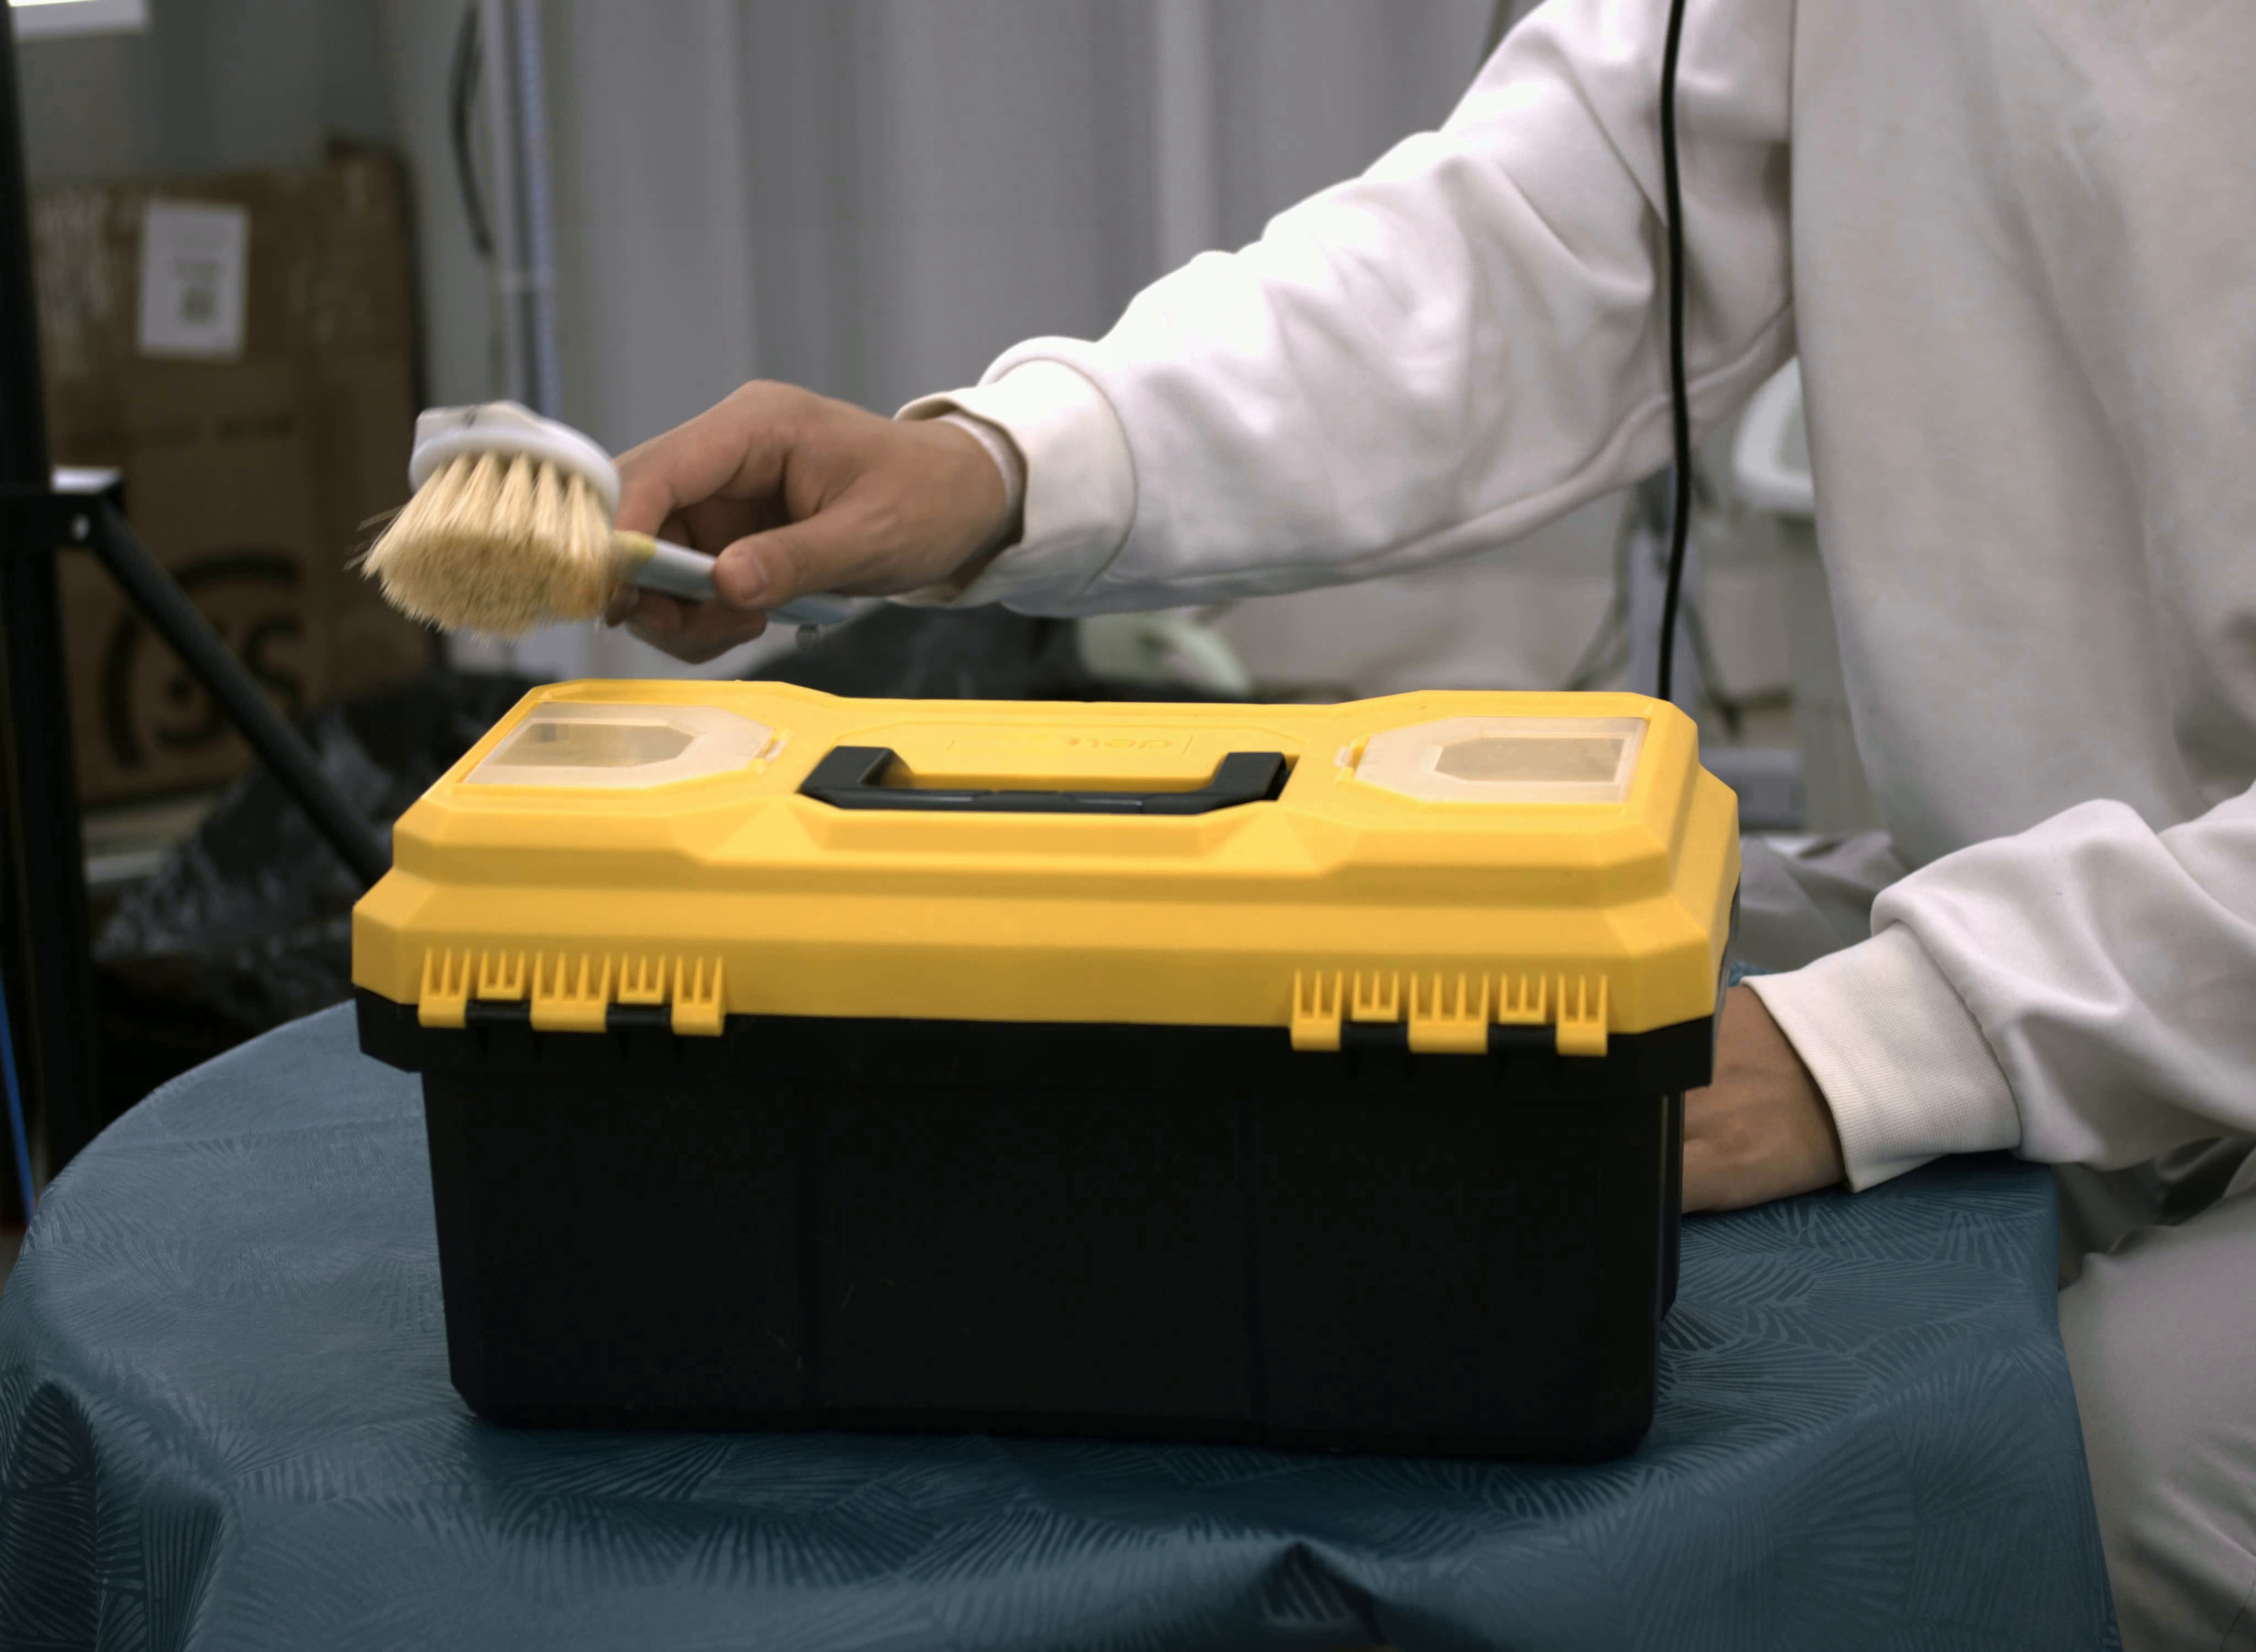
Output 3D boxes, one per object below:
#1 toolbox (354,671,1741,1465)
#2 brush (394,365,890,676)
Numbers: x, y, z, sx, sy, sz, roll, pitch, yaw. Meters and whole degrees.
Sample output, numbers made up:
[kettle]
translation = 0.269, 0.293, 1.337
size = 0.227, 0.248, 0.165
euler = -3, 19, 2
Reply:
[toolbox]
translation = -0.016, 0.061, 1.411
size = 0.353, 0.173, 0.180
euler = 1, 17, 11
[brush]
translation = -0.133, -0.065, 1.583
size = 0.069, 0.056, 0.261
euler = 11, -12, 23
